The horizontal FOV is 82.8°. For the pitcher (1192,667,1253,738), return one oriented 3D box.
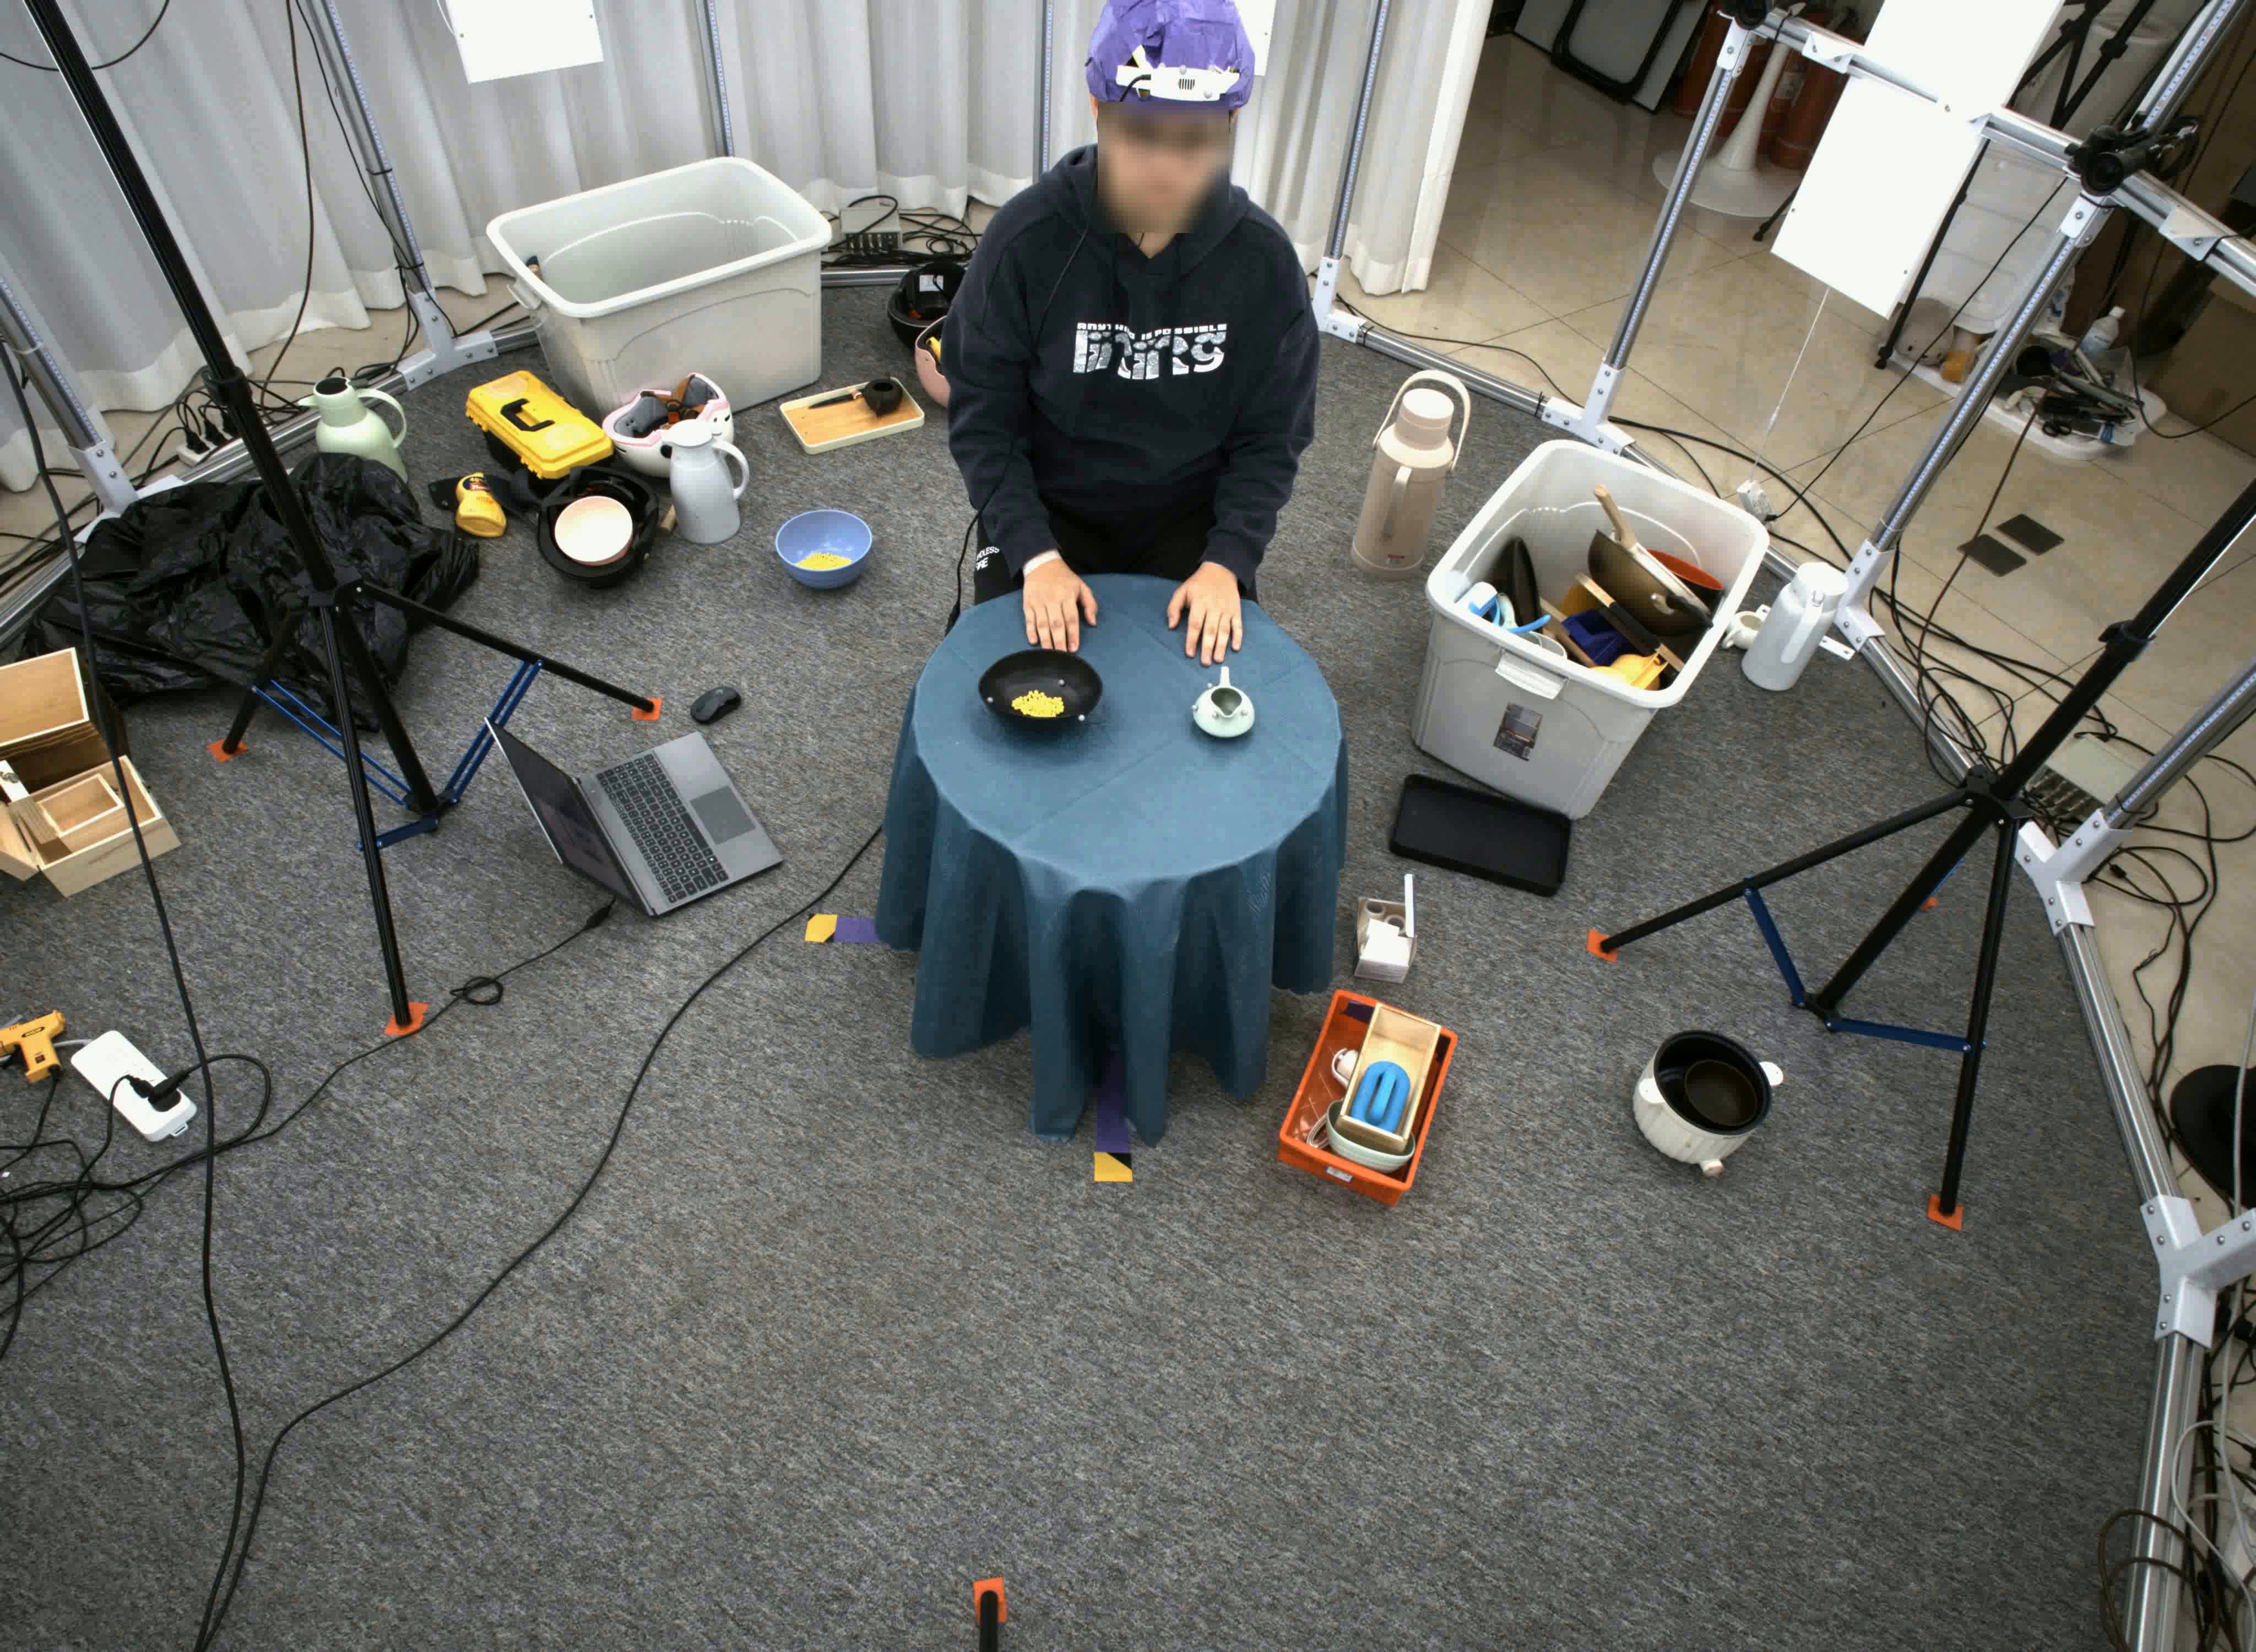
[{"bbox_3d":[0.133,-0.171,1.788,0.086,0.059,0.111,2,47,-4],"label":"pitcher"}]

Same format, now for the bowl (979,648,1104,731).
[{"bbox_3d":[-0.120,-0.175,1.767,0.170,0.065,0.141,2,48,-1],"label":"bowl"}]
